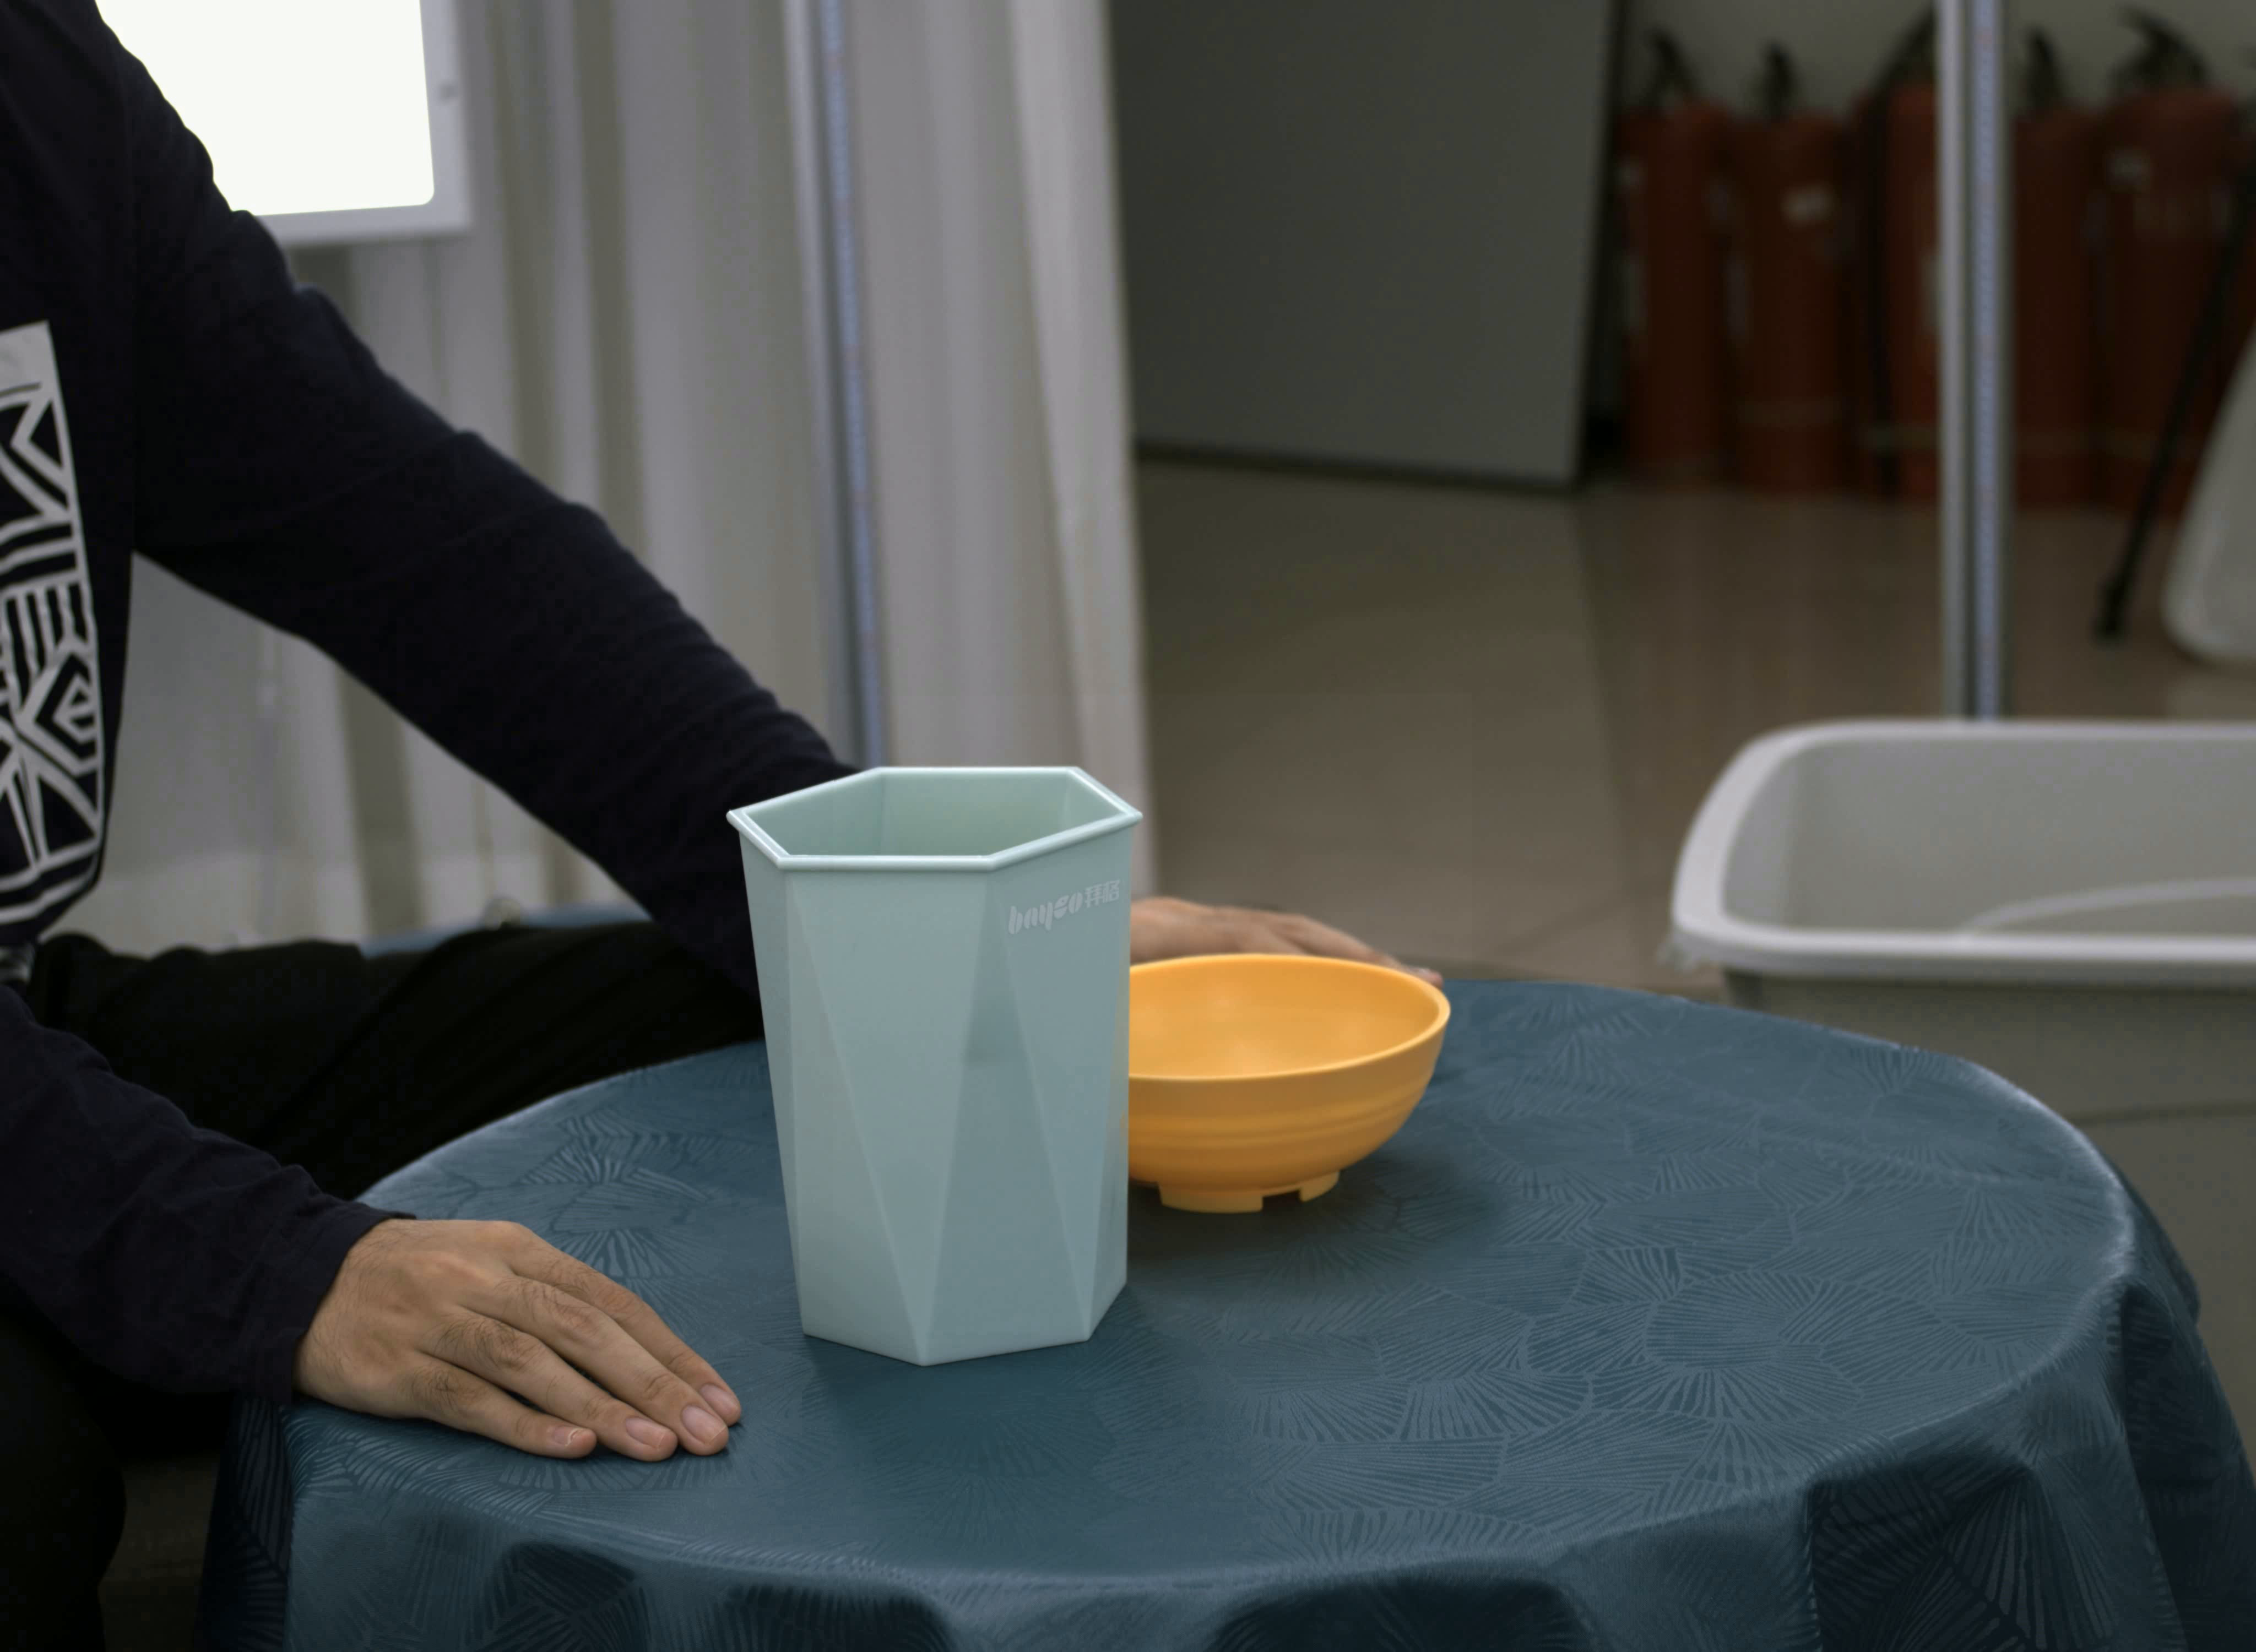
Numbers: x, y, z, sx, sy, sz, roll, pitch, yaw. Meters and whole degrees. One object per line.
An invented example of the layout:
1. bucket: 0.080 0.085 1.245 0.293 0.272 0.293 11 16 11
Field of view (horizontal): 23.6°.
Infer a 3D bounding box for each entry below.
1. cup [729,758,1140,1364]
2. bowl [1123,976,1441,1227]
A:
1. cup: -0.053 0.071 1.651 0.116 0.165 0.128 7 16 42
2. bowl: 0.033 0.094 1.769 0.143 0.061 0.145 -5 11 0
